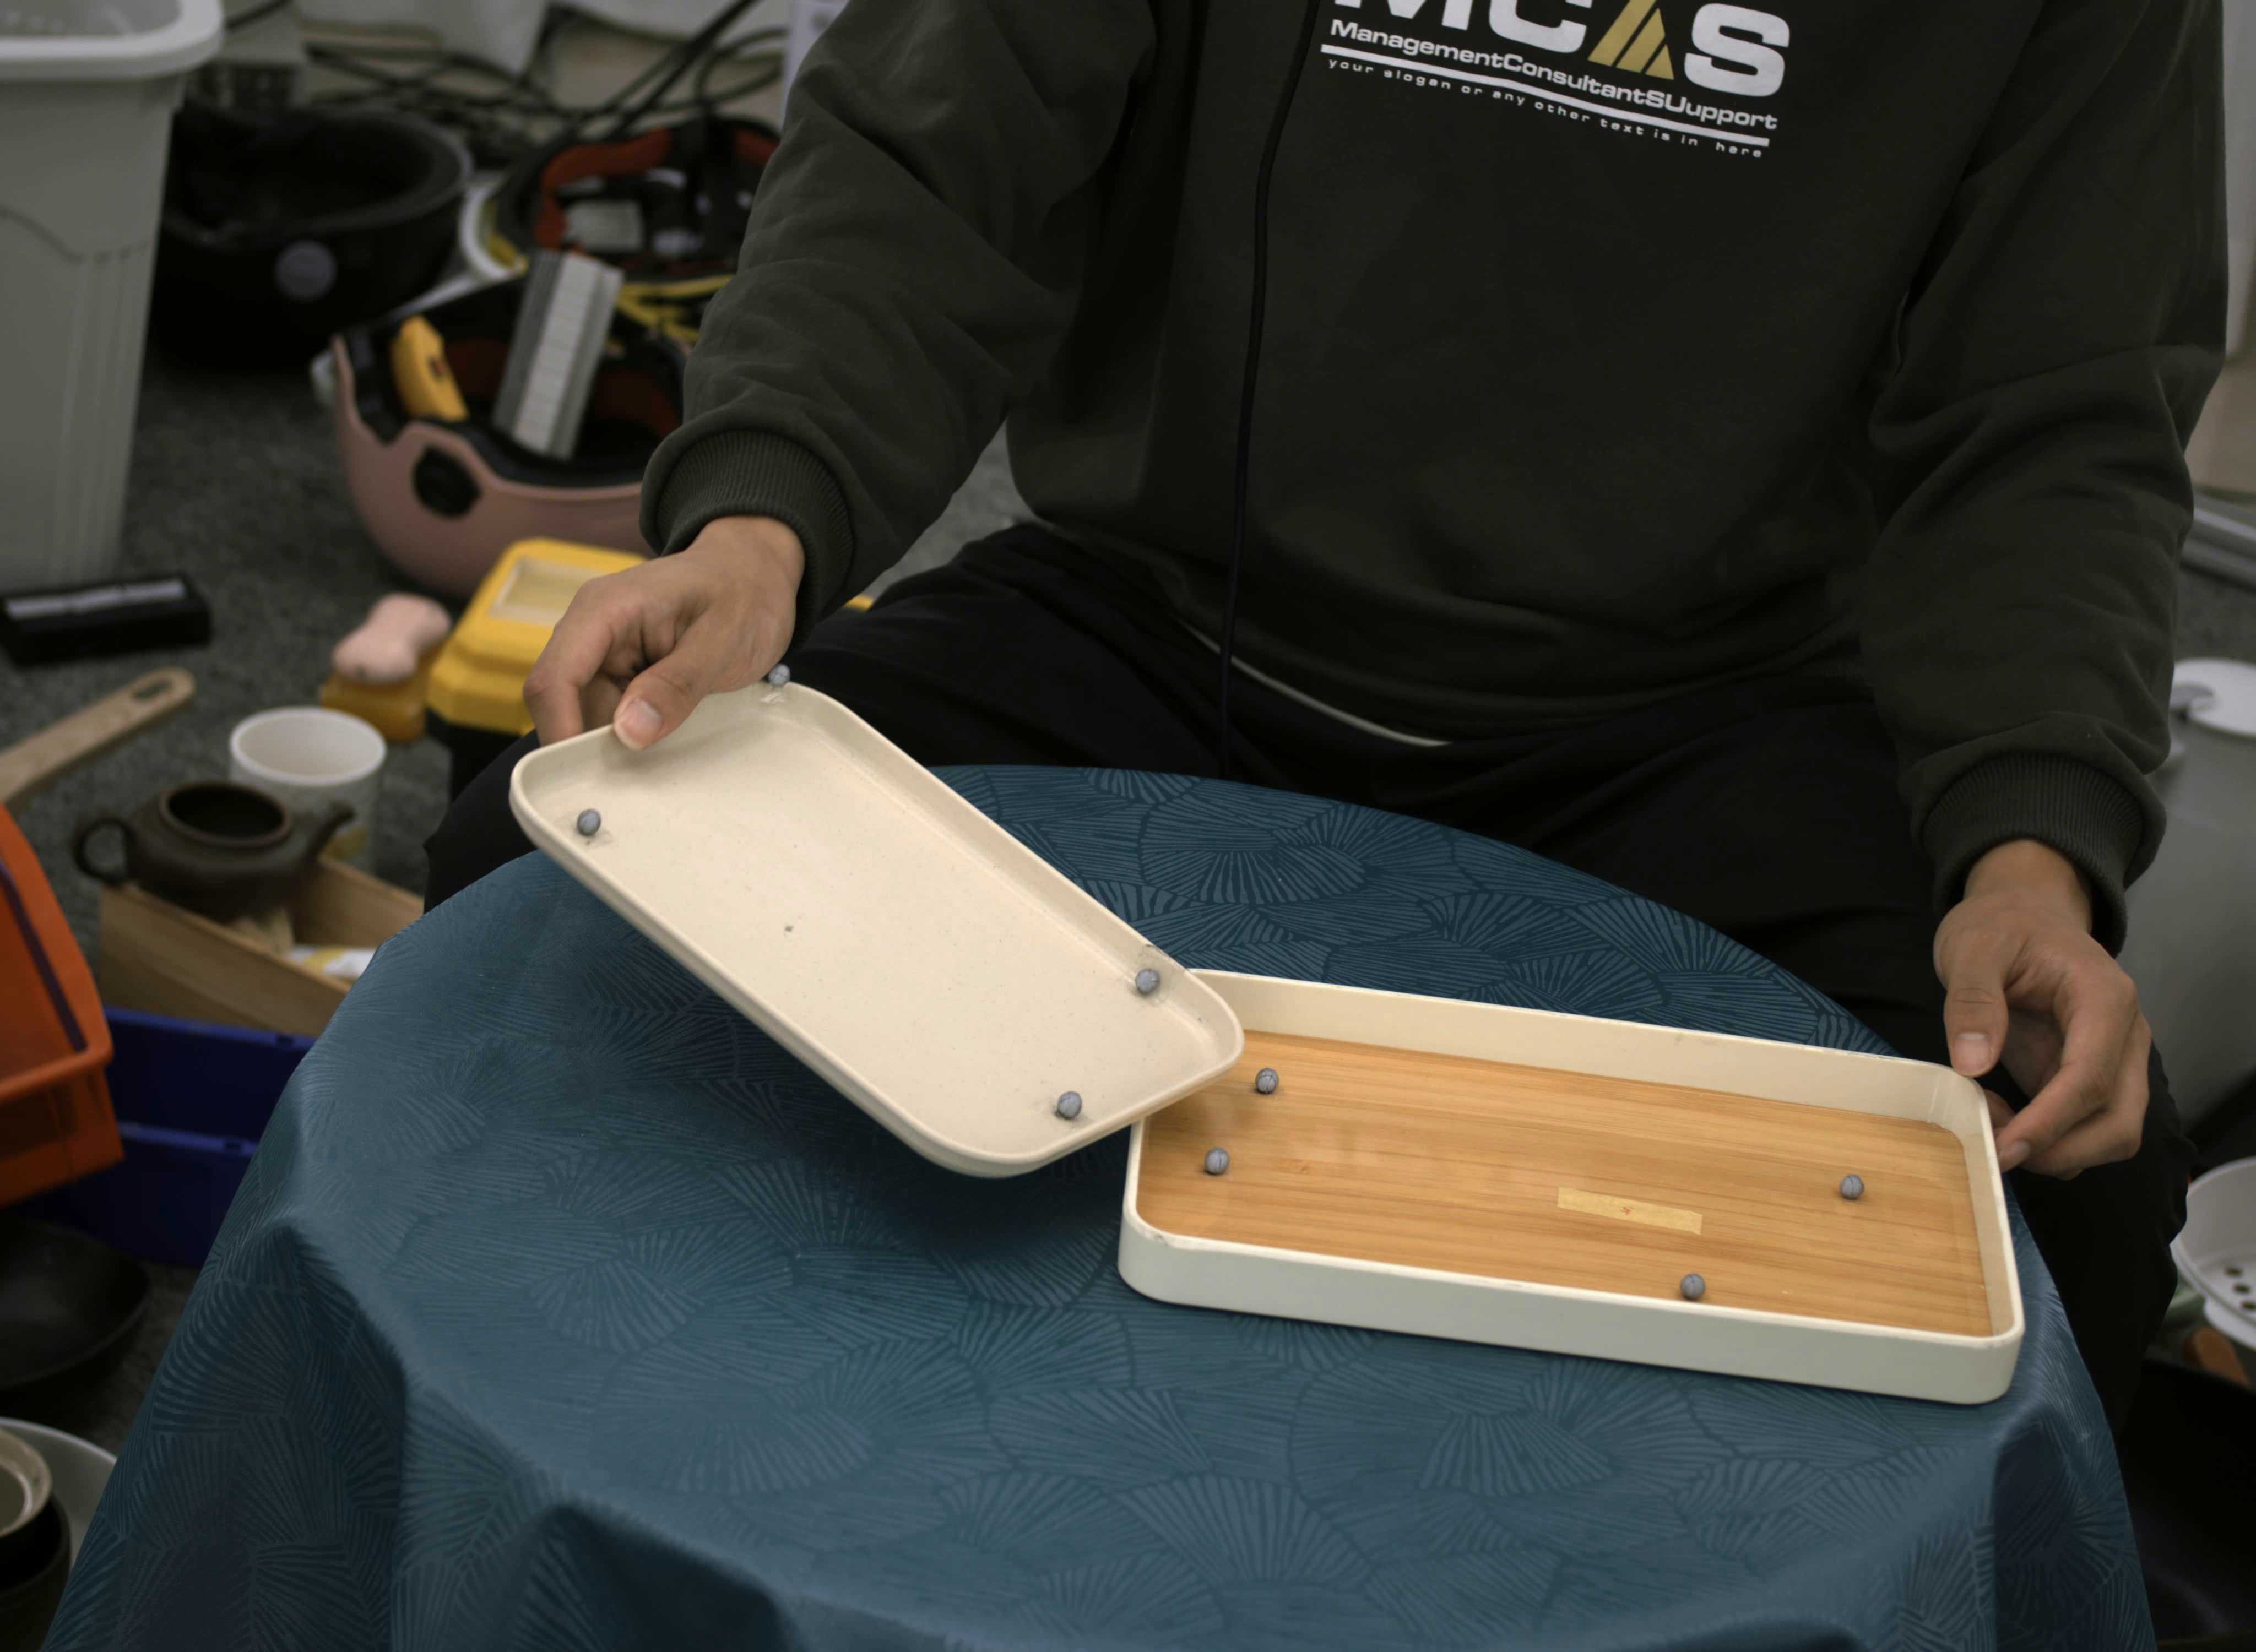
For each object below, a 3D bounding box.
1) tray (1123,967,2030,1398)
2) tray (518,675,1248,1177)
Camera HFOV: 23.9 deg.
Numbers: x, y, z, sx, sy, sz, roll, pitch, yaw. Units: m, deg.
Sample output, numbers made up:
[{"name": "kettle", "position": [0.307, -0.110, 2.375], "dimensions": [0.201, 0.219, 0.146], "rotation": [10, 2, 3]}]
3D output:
[{"name": "tray", "position": [0.151, 0.120, 1.821], "dimensions": [0.299, 0.027, 0.192], "rotation": [7, 26, 0]}, {"name": "tray", "position": [-0.085, 0.033, 1.827], "dimensions": [0.241, 0.017, 0.170], "rotation": [38, 33, 23]}]
